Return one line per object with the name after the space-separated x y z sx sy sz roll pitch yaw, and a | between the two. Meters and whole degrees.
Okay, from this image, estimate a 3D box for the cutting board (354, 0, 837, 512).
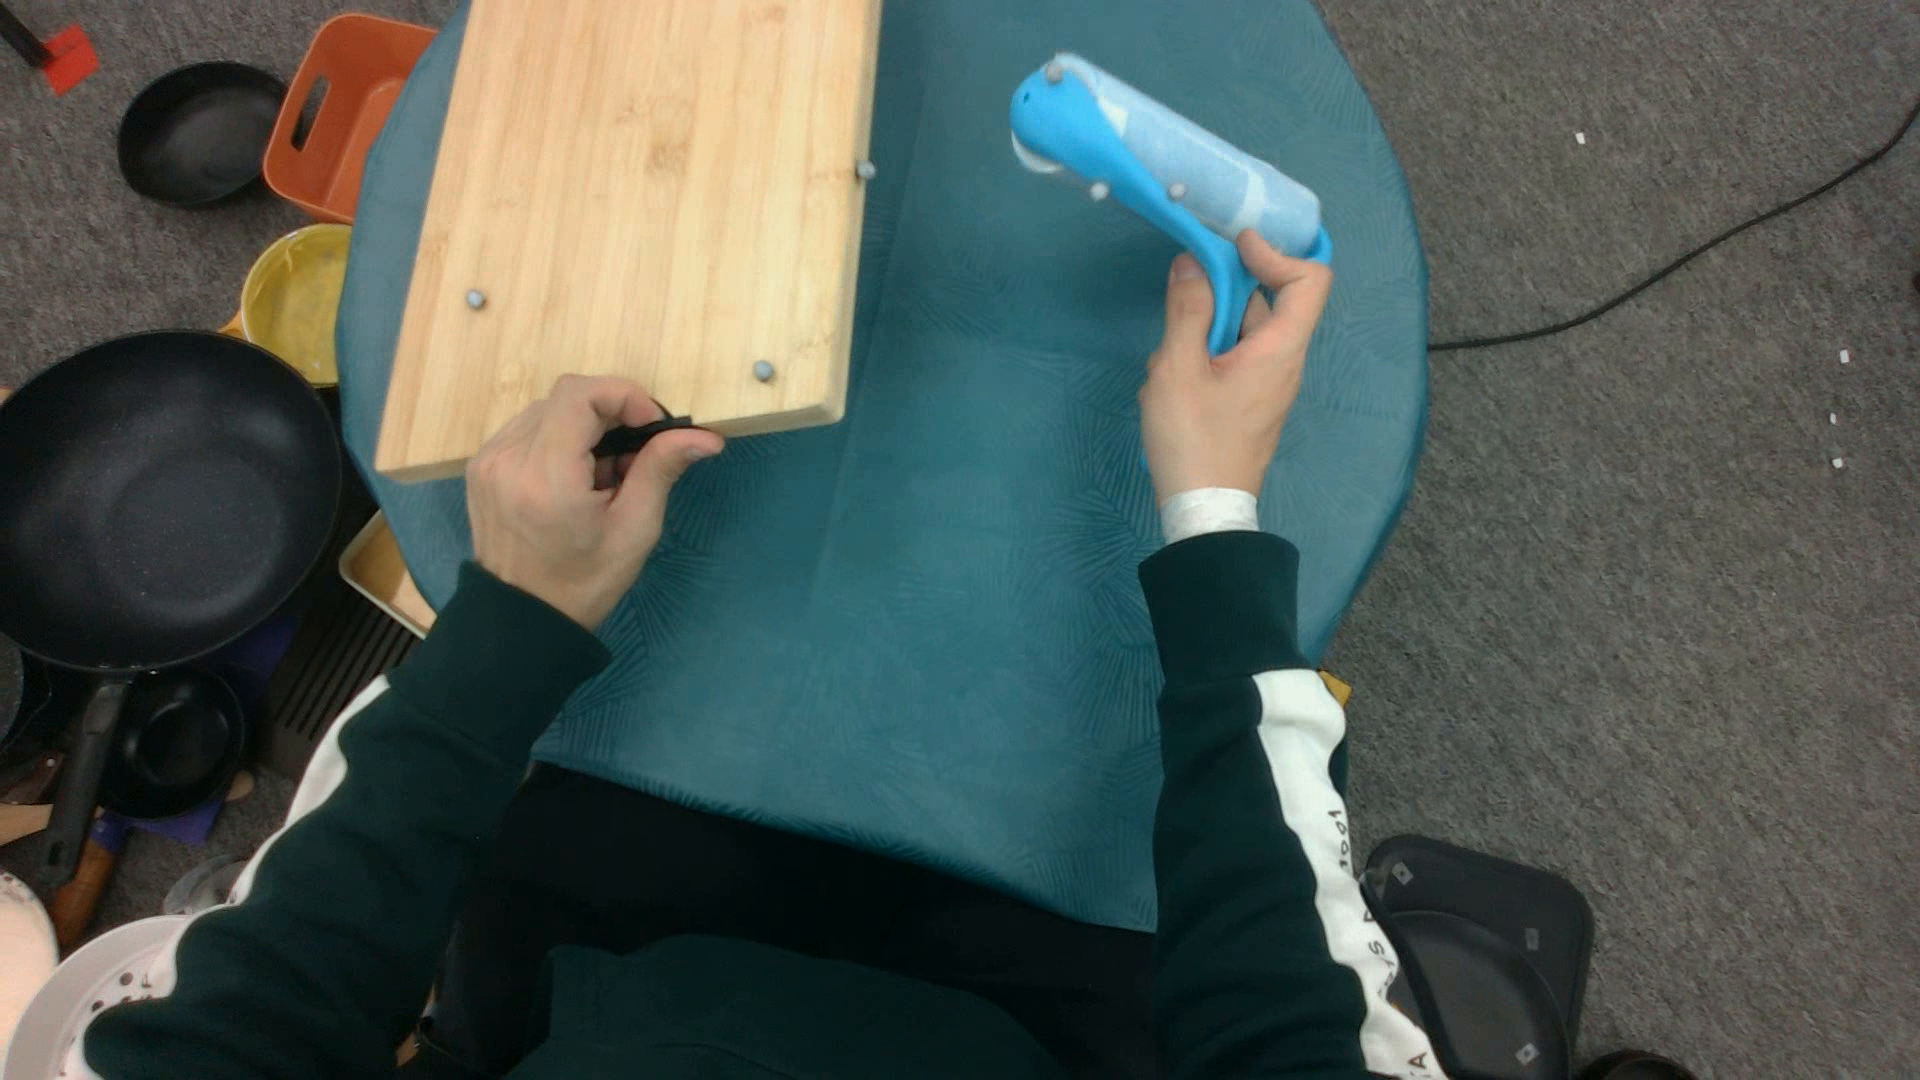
-0.173 -0.193 0.677 0.250 0.023 0.349 -10 67 21 | cutting board

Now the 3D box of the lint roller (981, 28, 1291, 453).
0.098 -0.136 0.675 0.067 0.229 0.180 -13 80 36 | lint roller
